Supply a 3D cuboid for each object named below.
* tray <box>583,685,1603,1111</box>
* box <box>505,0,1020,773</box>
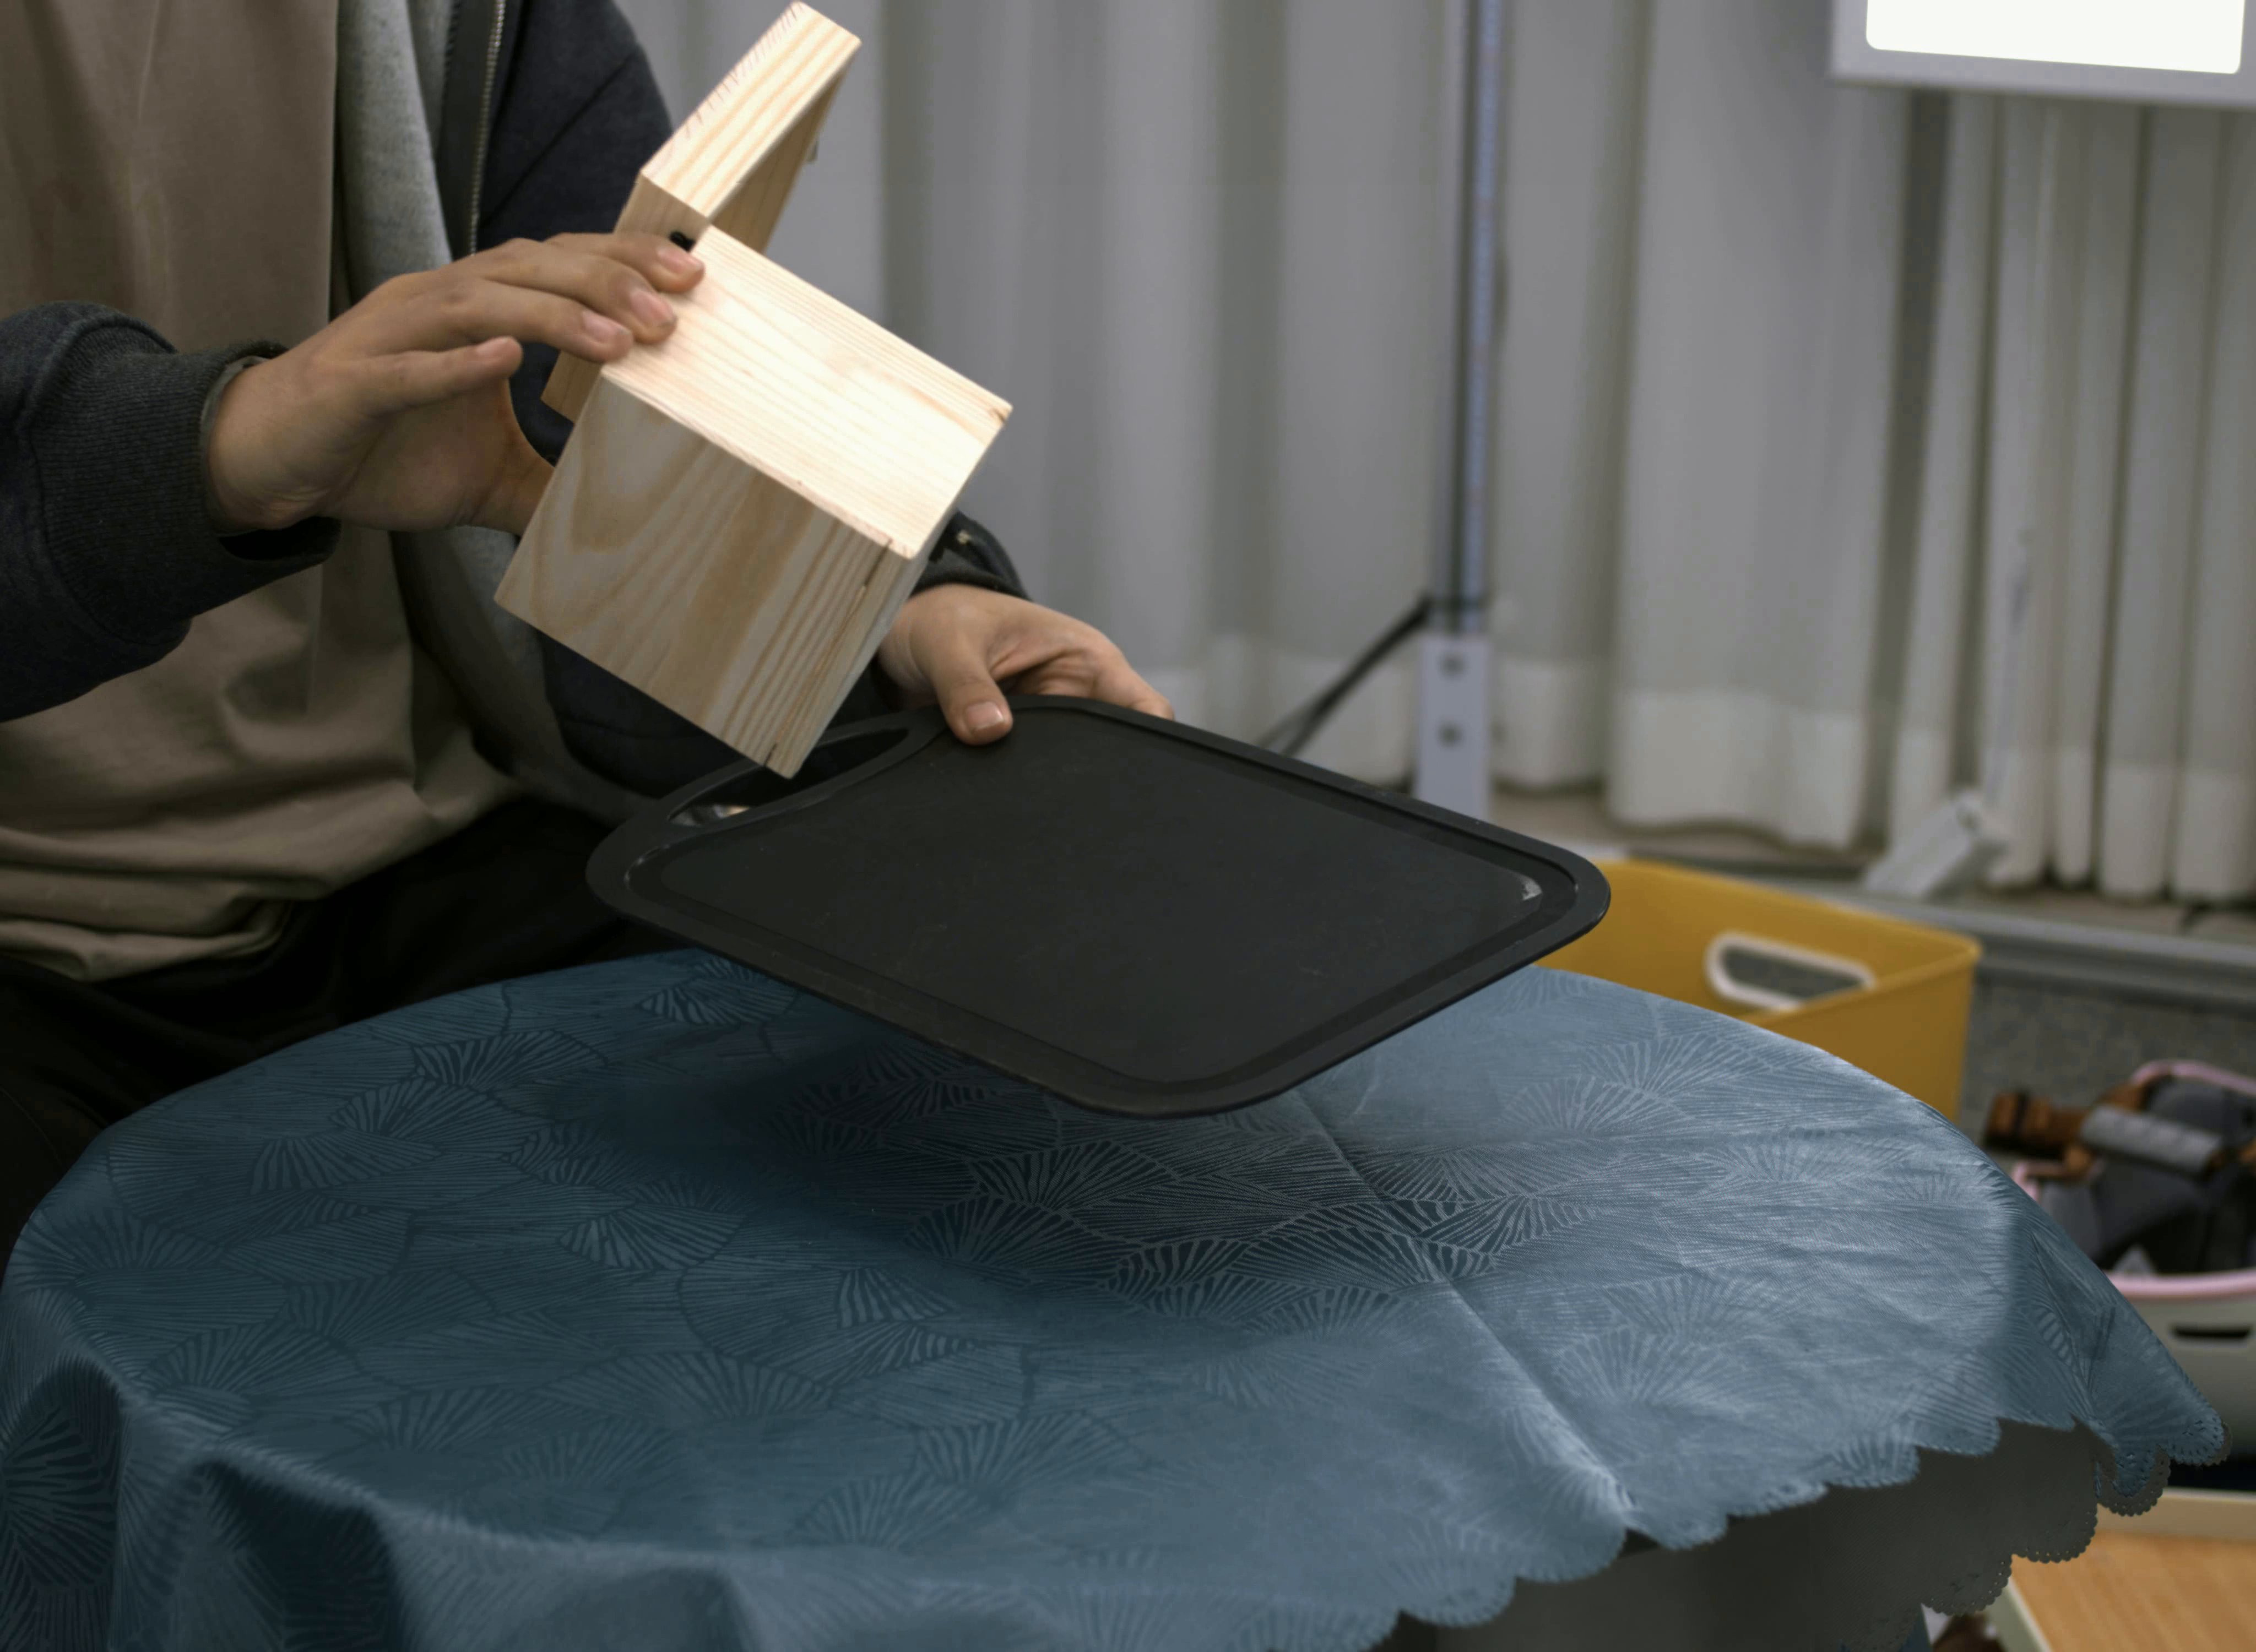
[{"bbox_3d":[-0.021,0.014,1.658,0.211,0.010,0.321,-25,31,-36],"label":"tray"},{"bbox_3d":[-0.094,-0.131,1.531,0.134,0.103,0.184,31,46,-2],"label":"box"}]
